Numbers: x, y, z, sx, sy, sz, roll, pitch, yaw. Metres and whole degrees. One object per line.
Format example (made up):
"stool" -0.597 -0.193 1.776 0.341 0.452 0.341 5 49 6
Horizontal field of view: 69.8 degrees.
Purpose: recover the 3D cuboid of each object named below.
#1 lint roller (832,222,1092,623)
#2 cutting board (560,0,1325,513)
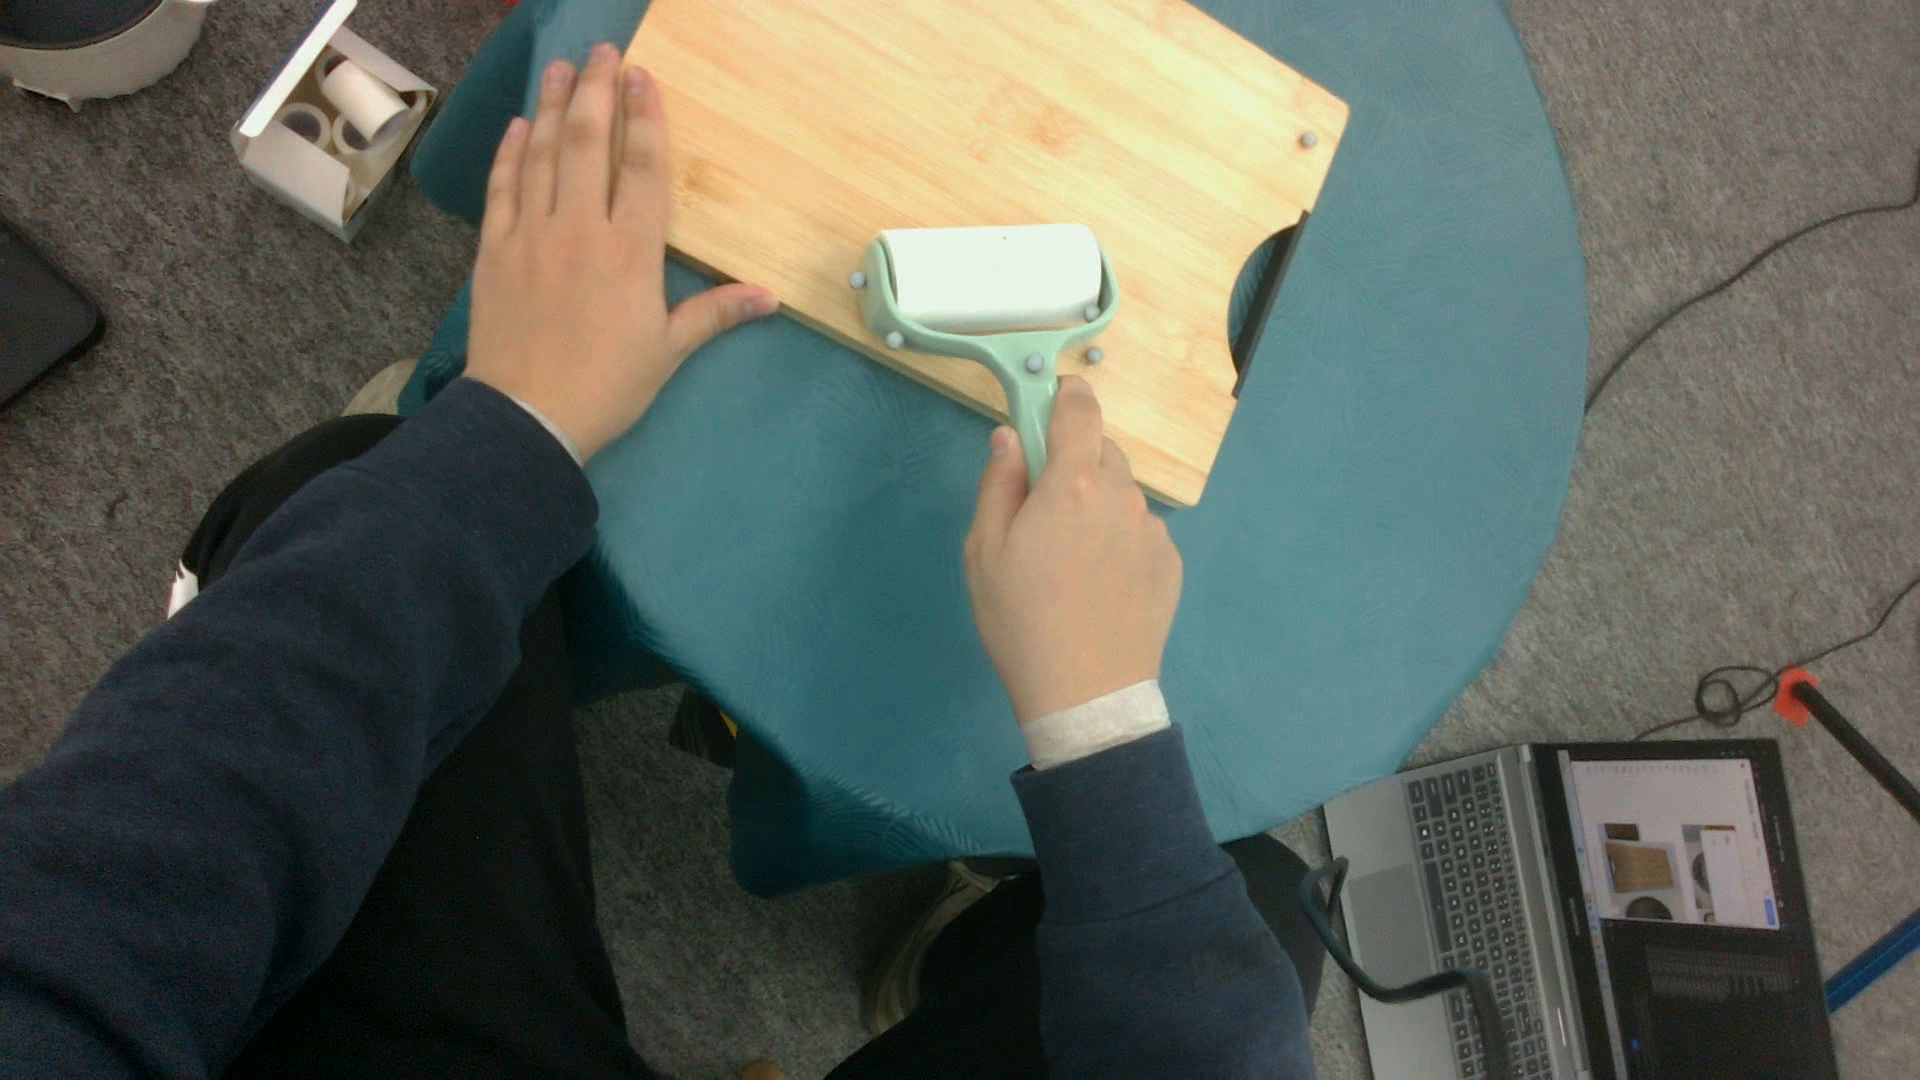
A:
"lint roller" 0.019 -0.057 0.626 0.117 0.048 0.198 -10 66 -20
"cutting board" 0.008 -0.188 0.699 0.349 0.023 0.251 20 80 -15
